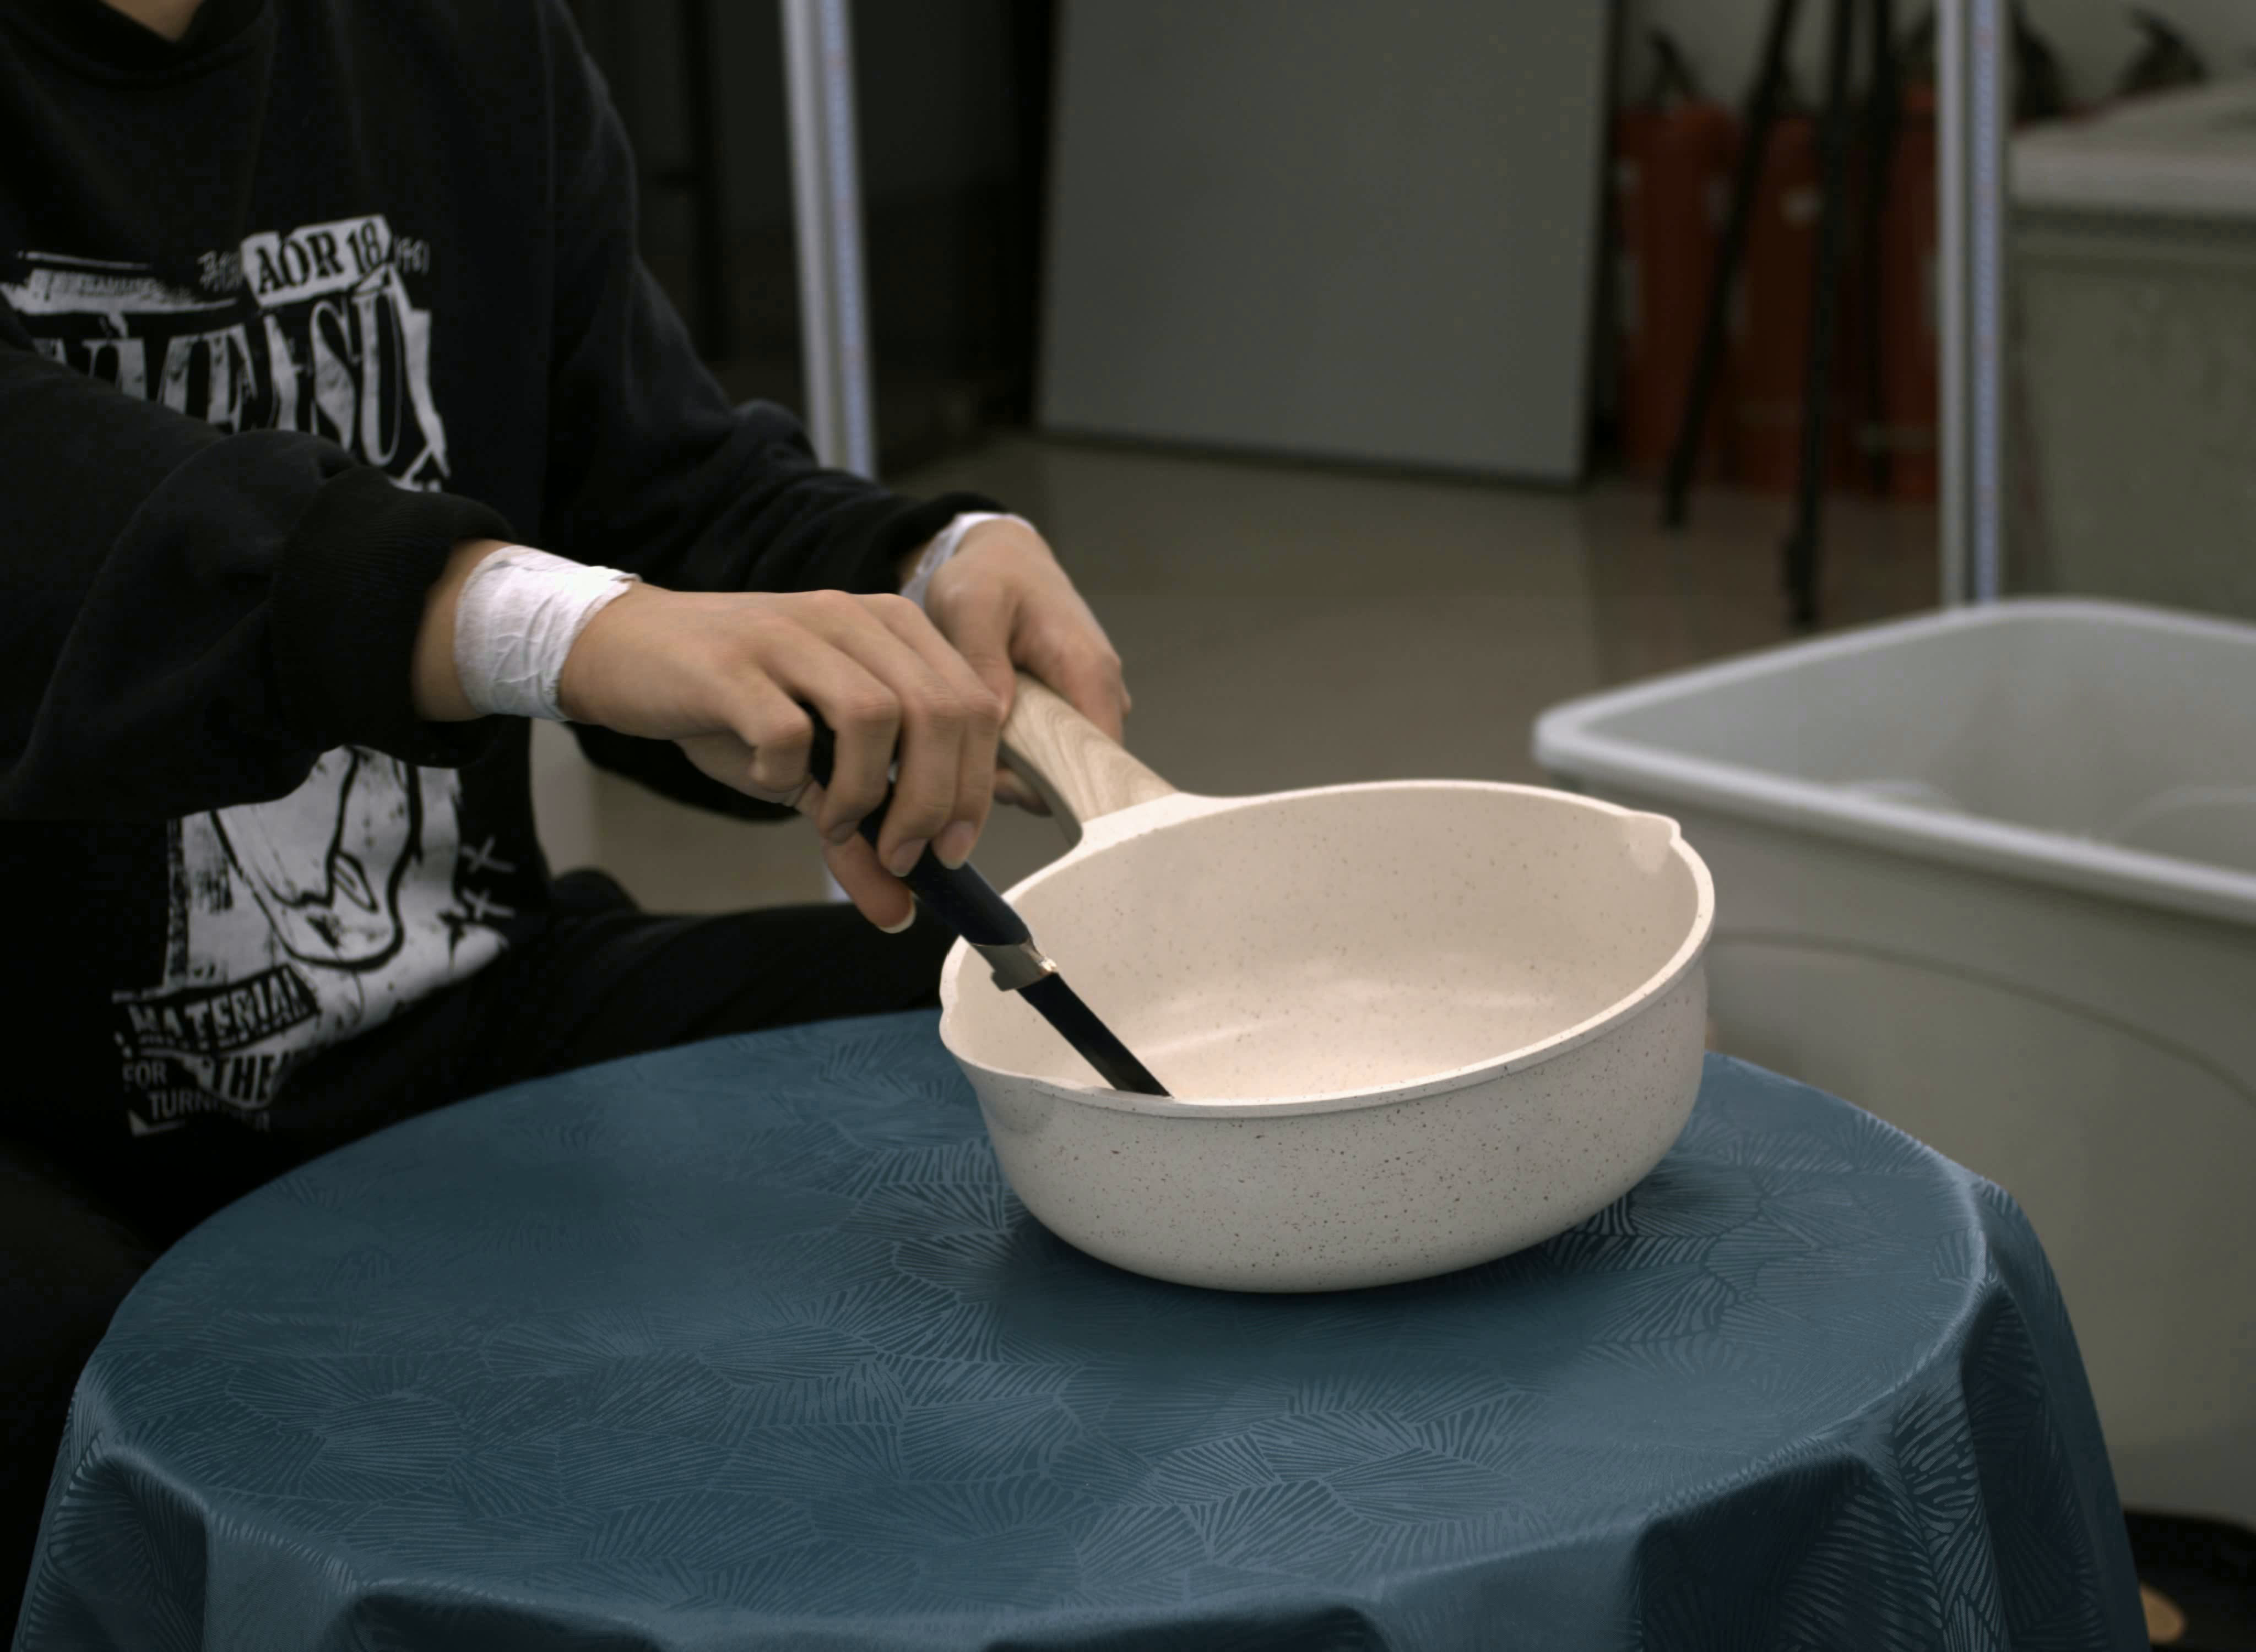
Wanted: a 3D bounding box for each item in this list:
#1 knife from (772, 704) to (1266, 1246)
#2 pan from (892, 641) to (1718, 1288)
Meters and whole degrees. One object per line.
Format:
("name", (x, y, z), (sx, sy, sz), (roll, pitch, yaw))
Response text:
("knife", (-0.028, 0.047, 1.619), (0.026, 0.224, 0.017), (-30, 20, 42))
("pan", (0.030, 0.036, 1.812), (0.258, 0.103, 0.439), (-20, 23, -20))
